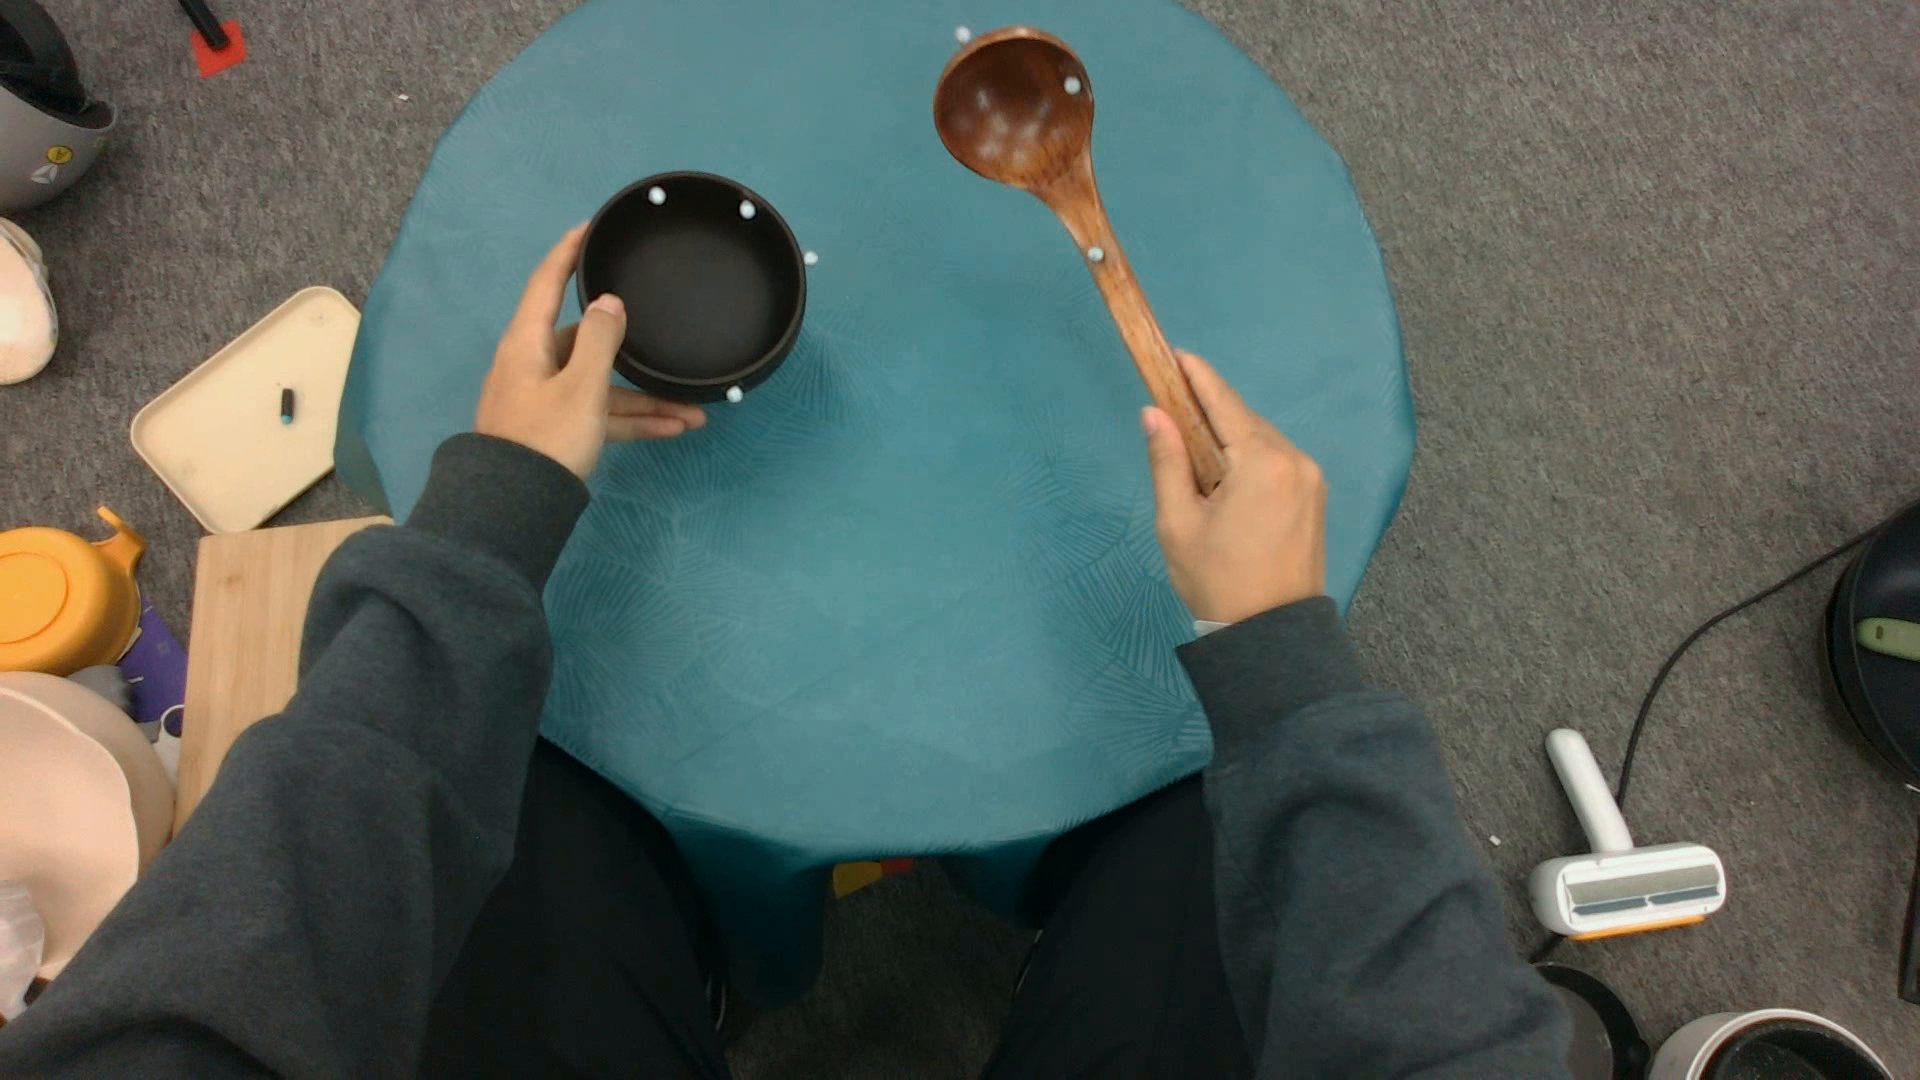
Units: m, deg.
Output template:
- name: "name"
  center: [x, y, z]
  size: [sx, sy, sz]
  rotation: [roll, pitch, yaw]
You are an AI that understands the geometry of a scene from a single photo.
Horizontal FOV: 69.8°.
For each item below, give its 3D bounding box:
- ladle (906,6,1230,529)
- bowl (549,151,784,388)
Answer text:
- name: "ladle"
  center: [0.056, -0.132, 0.666]
  size: [0.081, 0.077, 0.274]
  rotation: [-30, 76, 32]
- name: "bowl"
  center: [-0.153, -0.135, 0.722]
  size: [0.118, 0.069, 0.118]
  rotation: [2, 80, -13]
